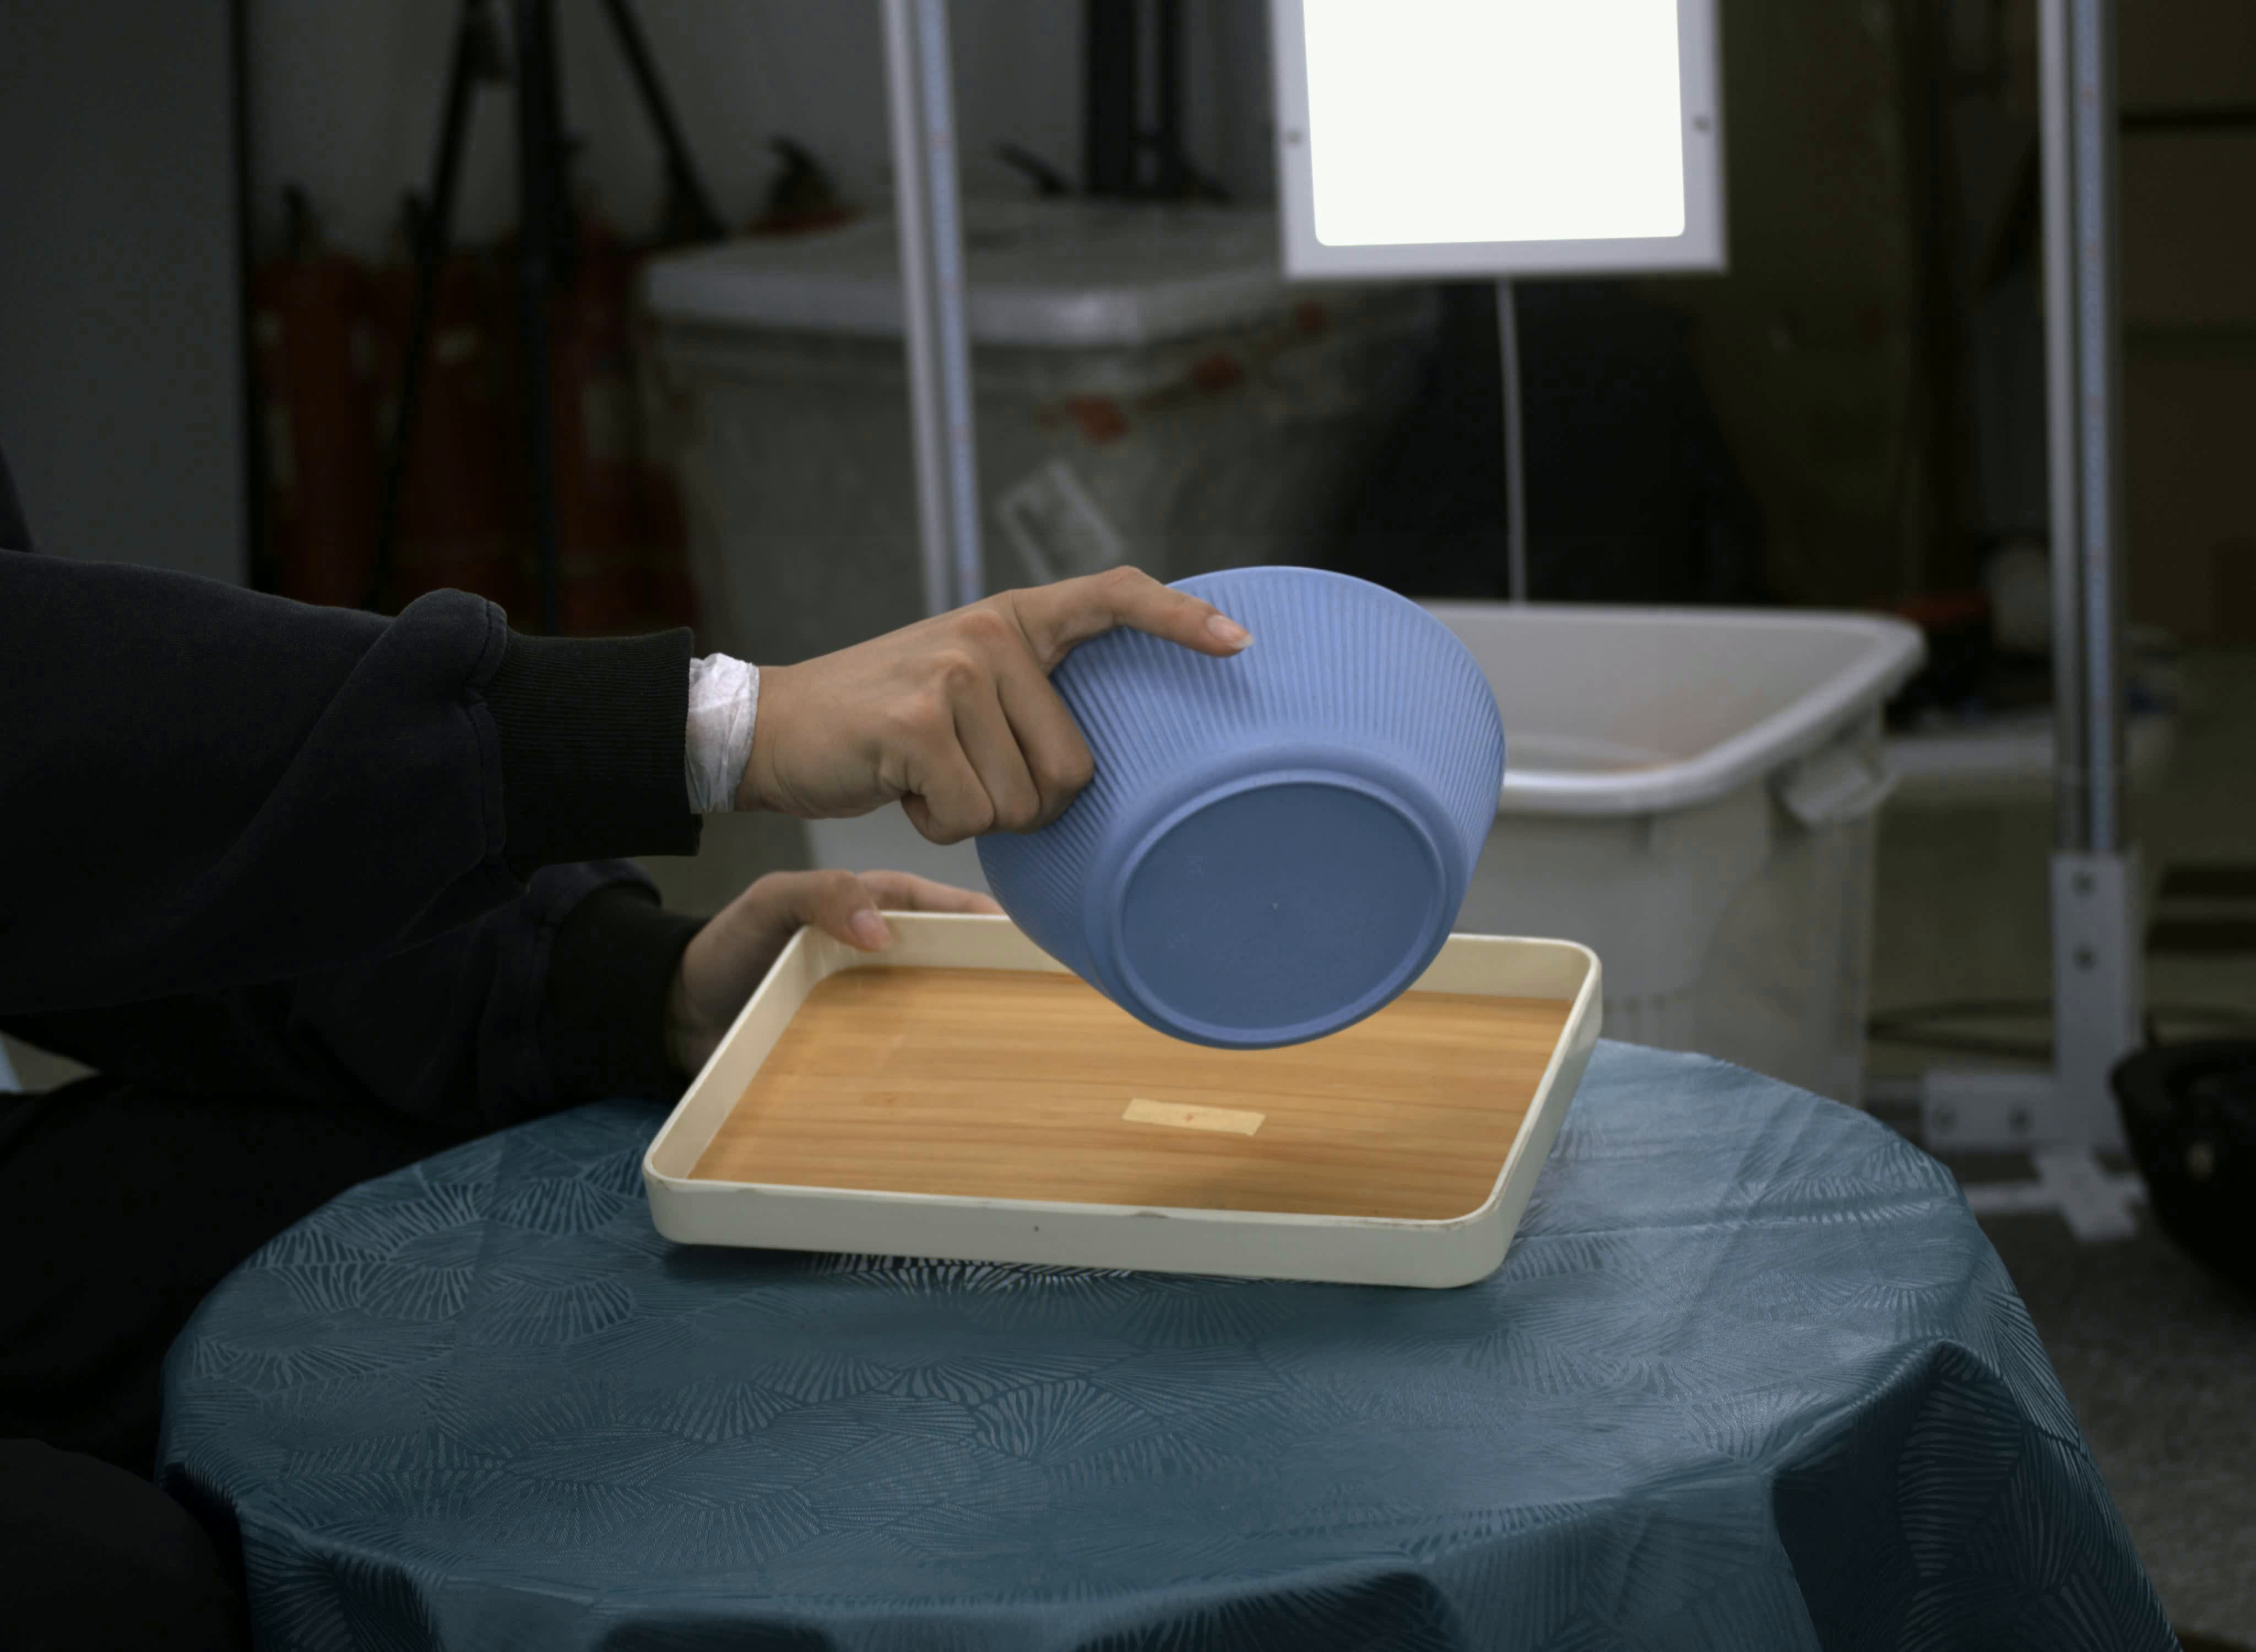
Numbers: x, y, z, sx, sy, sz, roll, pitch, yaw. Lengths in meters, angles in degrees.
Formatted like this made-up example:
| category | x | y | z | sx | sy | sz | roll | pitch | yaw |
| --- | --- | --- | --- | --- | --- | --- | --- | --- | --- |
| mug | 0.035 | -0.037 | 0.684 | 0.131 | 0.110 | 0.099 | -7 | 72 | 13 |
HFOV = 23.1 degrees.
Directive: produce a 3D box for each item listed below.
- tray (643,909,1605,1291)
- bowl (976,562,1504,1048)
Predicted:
| category | x | y | z | sx | sy | sz | roll | pitch | yaw |
| --- | --- | --- | --- | --- | --- | --- | --- | --- | --- |
| tray | 0.001 | 0.091 | 1.886 | 0.304 | 0.027 | 0.188 | 2 | 29 | 20 |
| bowl | 0.042 | 0.006 | 1.755 | 0.174 | 0.177 | 0.070 | -5 | 39 | -6 |
